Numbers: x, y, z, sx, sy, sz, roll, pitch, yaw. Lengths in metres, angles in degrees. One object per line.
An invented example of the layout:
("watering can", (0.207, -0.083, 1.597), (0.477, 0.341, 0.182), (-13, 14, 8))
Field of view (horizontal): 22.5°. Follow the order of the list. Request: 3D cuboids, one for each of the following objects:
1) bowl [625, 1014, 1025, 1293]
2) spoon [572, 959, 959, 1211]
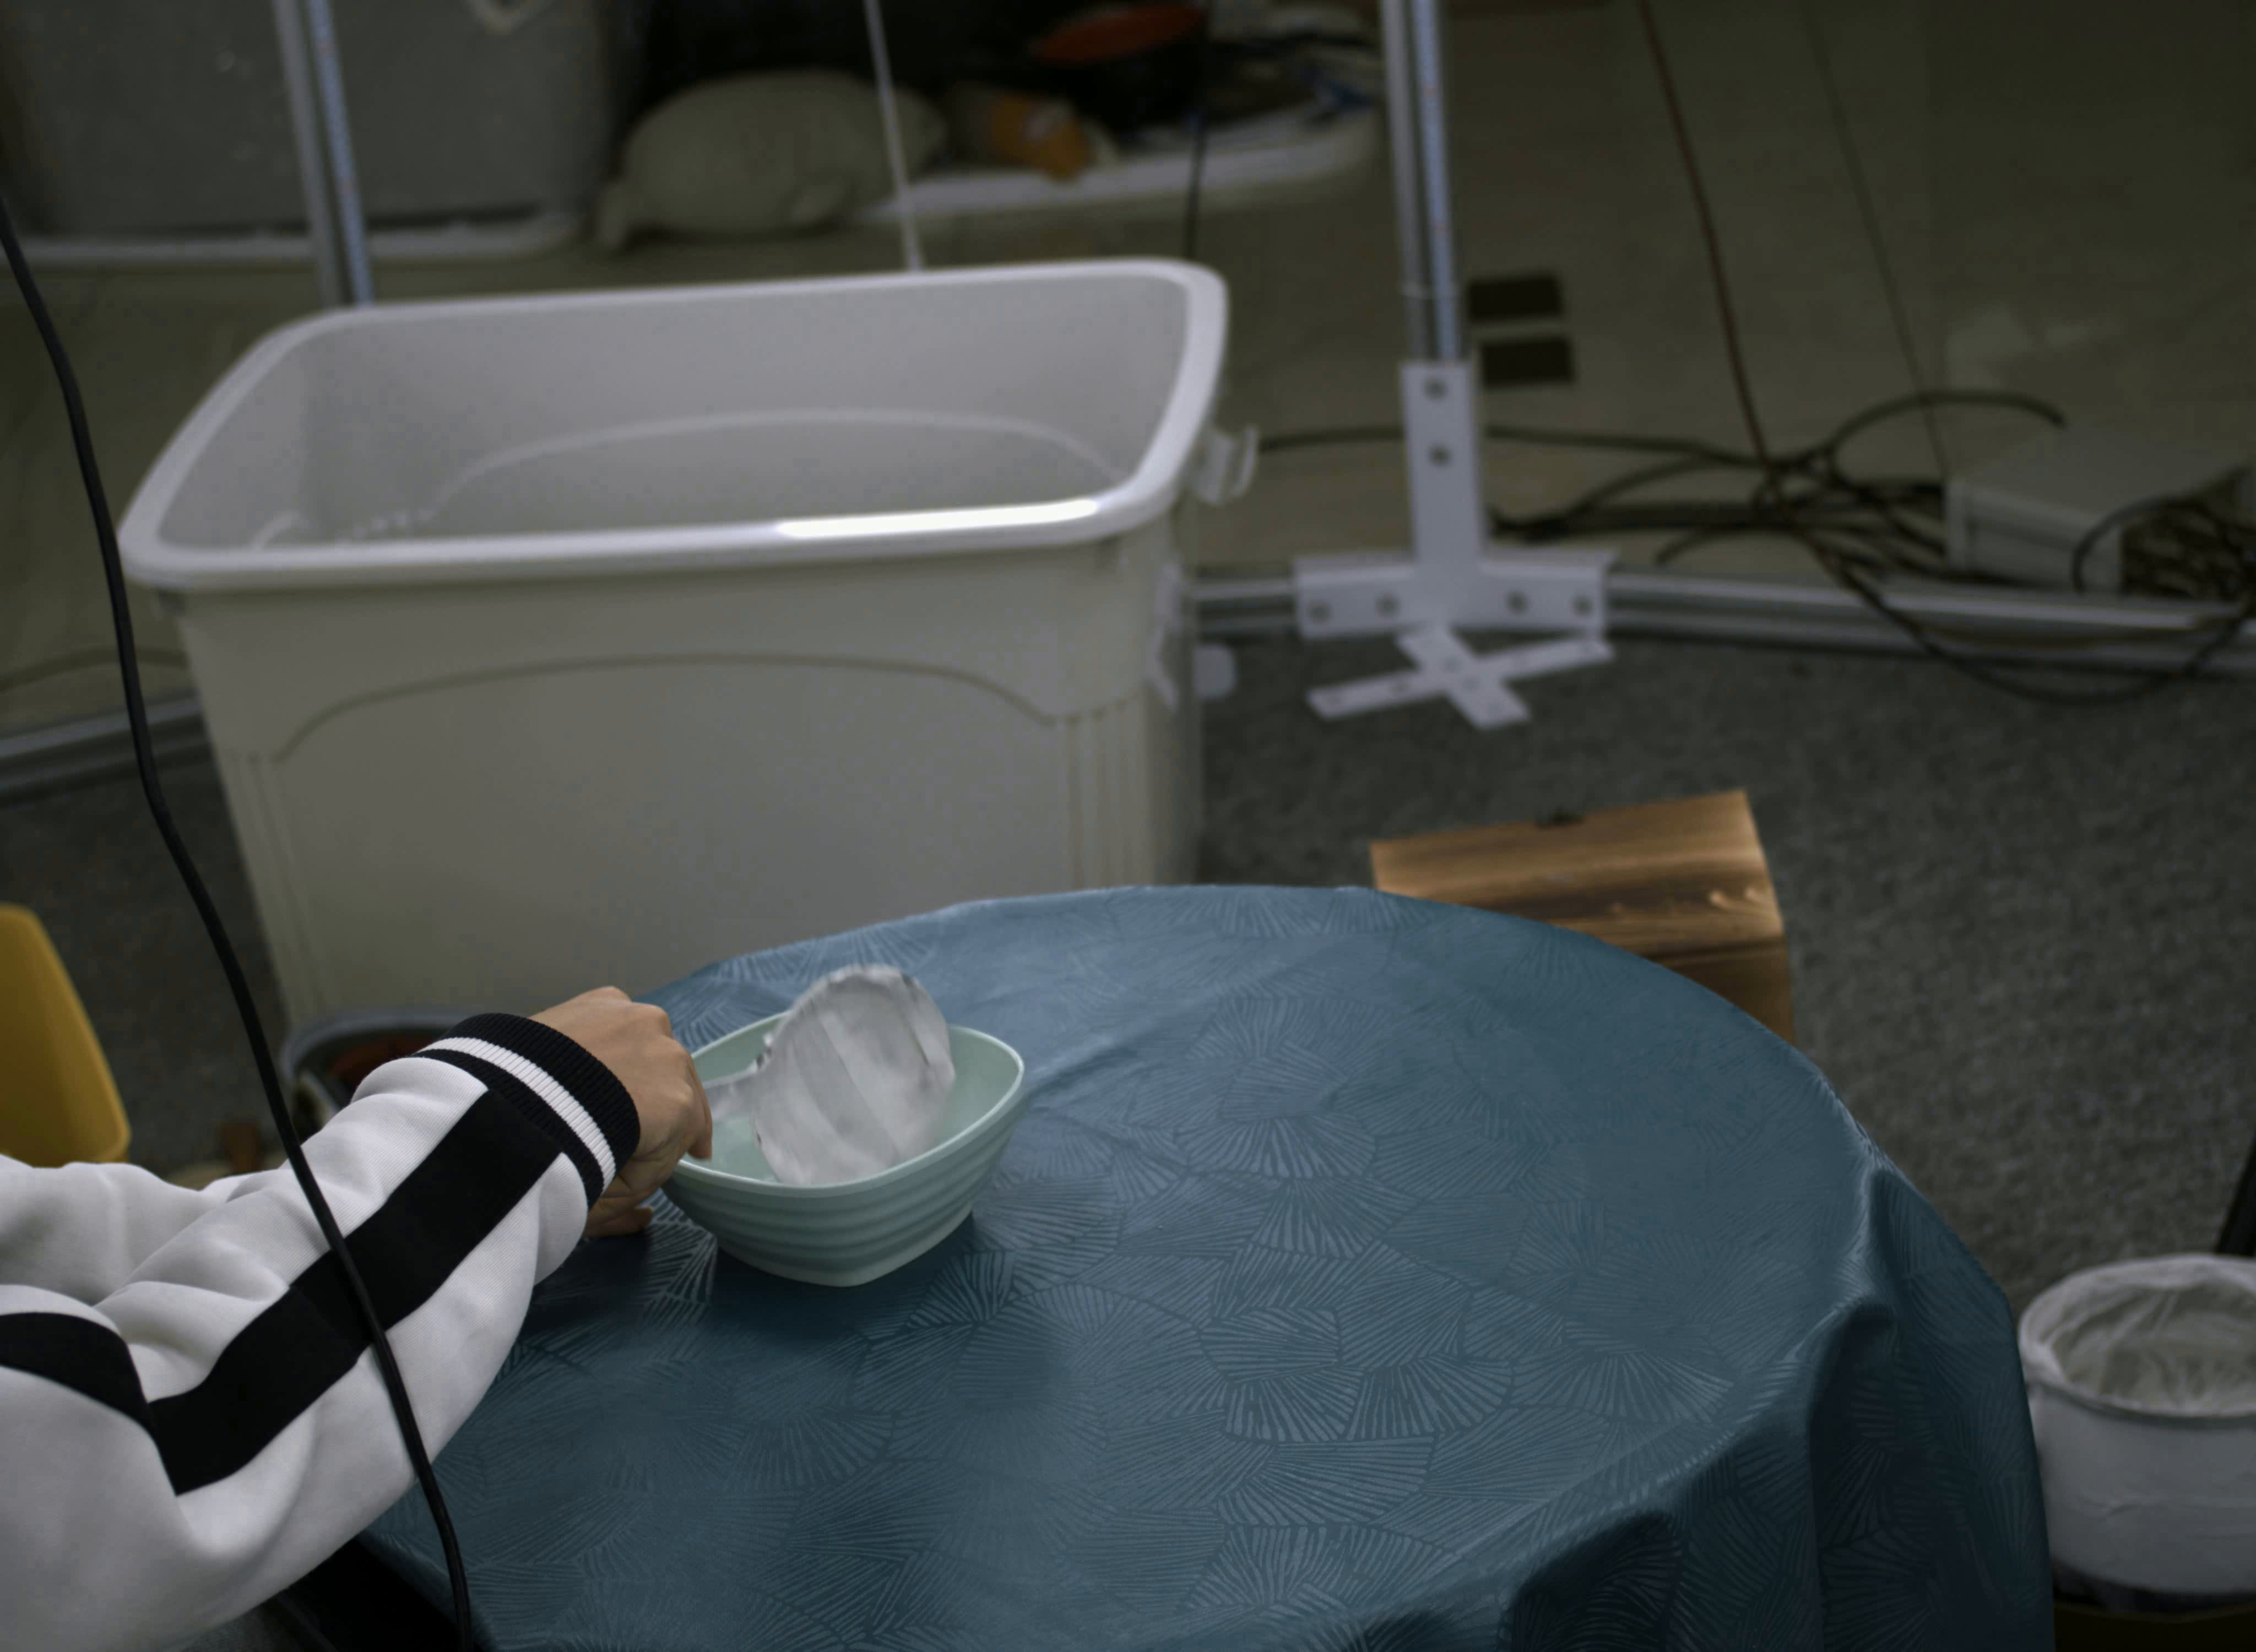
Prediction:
("bowl", (-0.111, 0.128, 2.136), (0.151, 0.059, 0.149), (-5, 25, 2))
("spoon", (-0.124, 0.095, 1.999), (0.059, 0.101, 0.277), (5, -1, 14))
